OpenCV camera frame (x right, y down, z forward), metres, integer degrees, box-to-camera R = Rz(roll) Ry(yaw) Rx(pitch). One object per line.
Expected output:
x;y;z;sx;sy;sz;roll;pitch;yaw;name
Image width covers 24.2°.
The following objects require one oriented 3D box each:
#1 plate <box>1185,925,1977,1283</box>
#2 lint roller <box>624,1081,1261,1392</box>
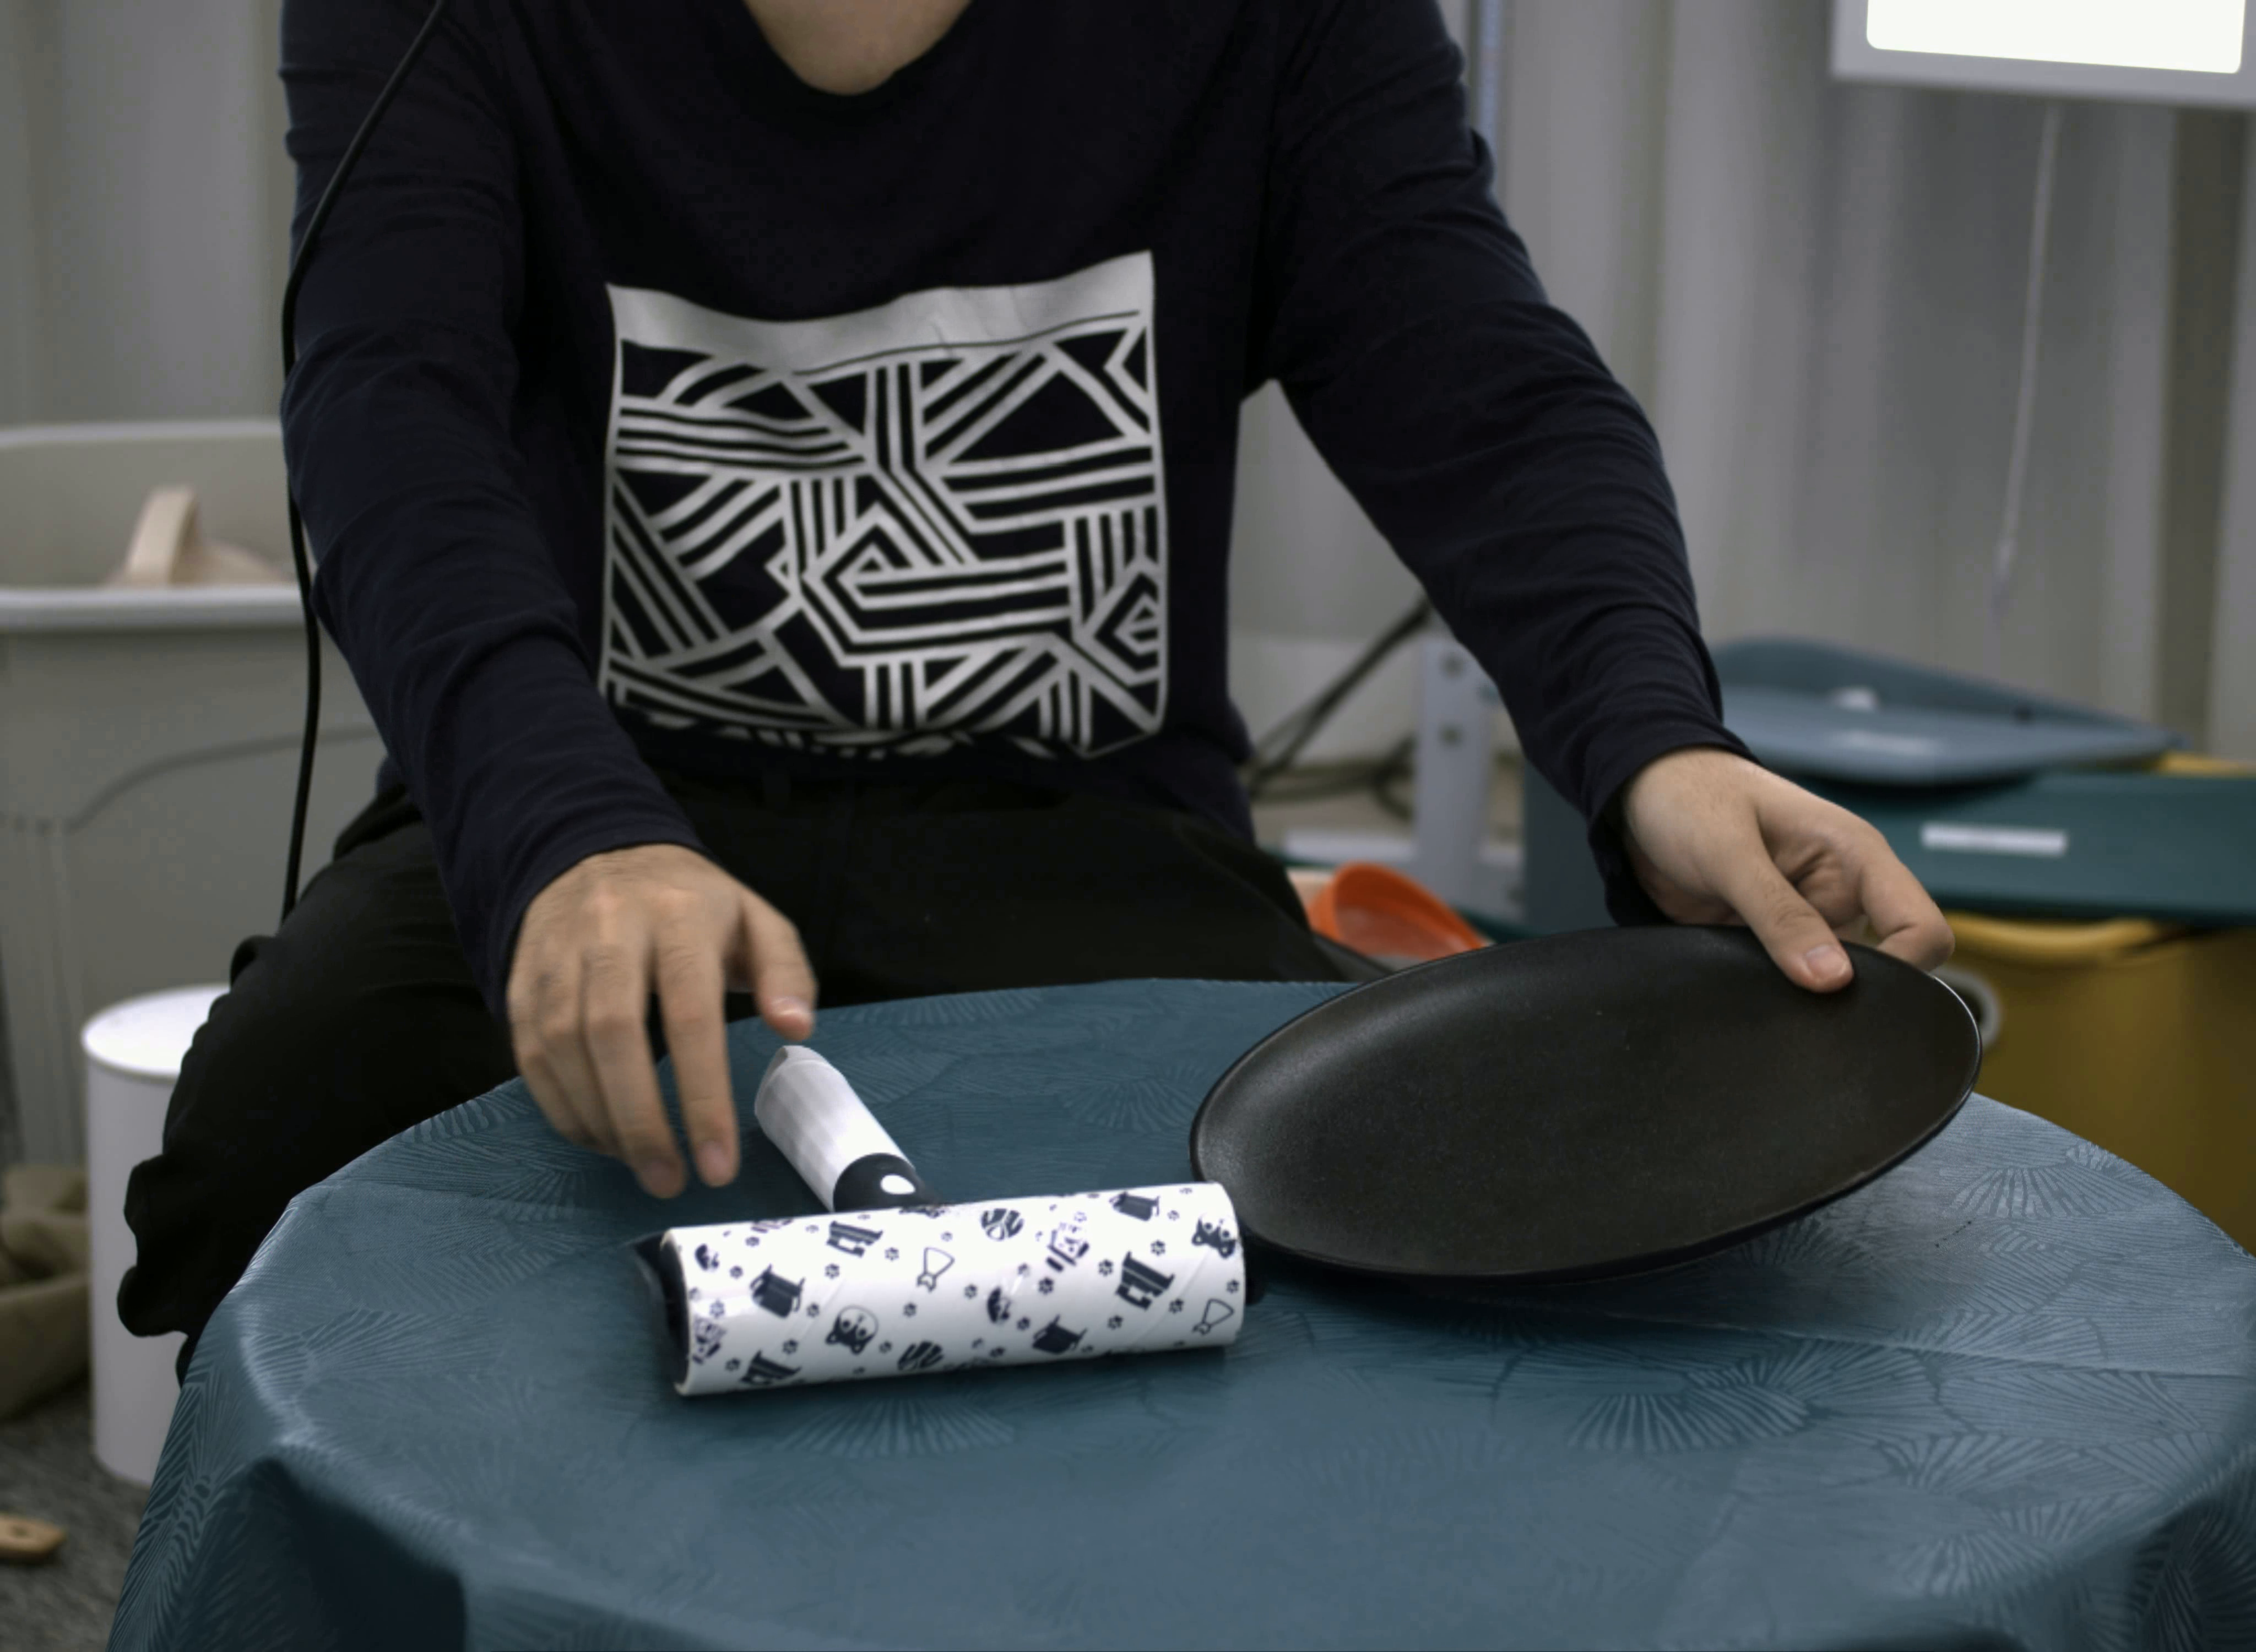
0.138;0.089;1.609;0.243;0.023;0.243;-9;21;4;plate
-0.079;0.107;1.567;0.176;0.051;0.245;-5;13;-16;lint roller
